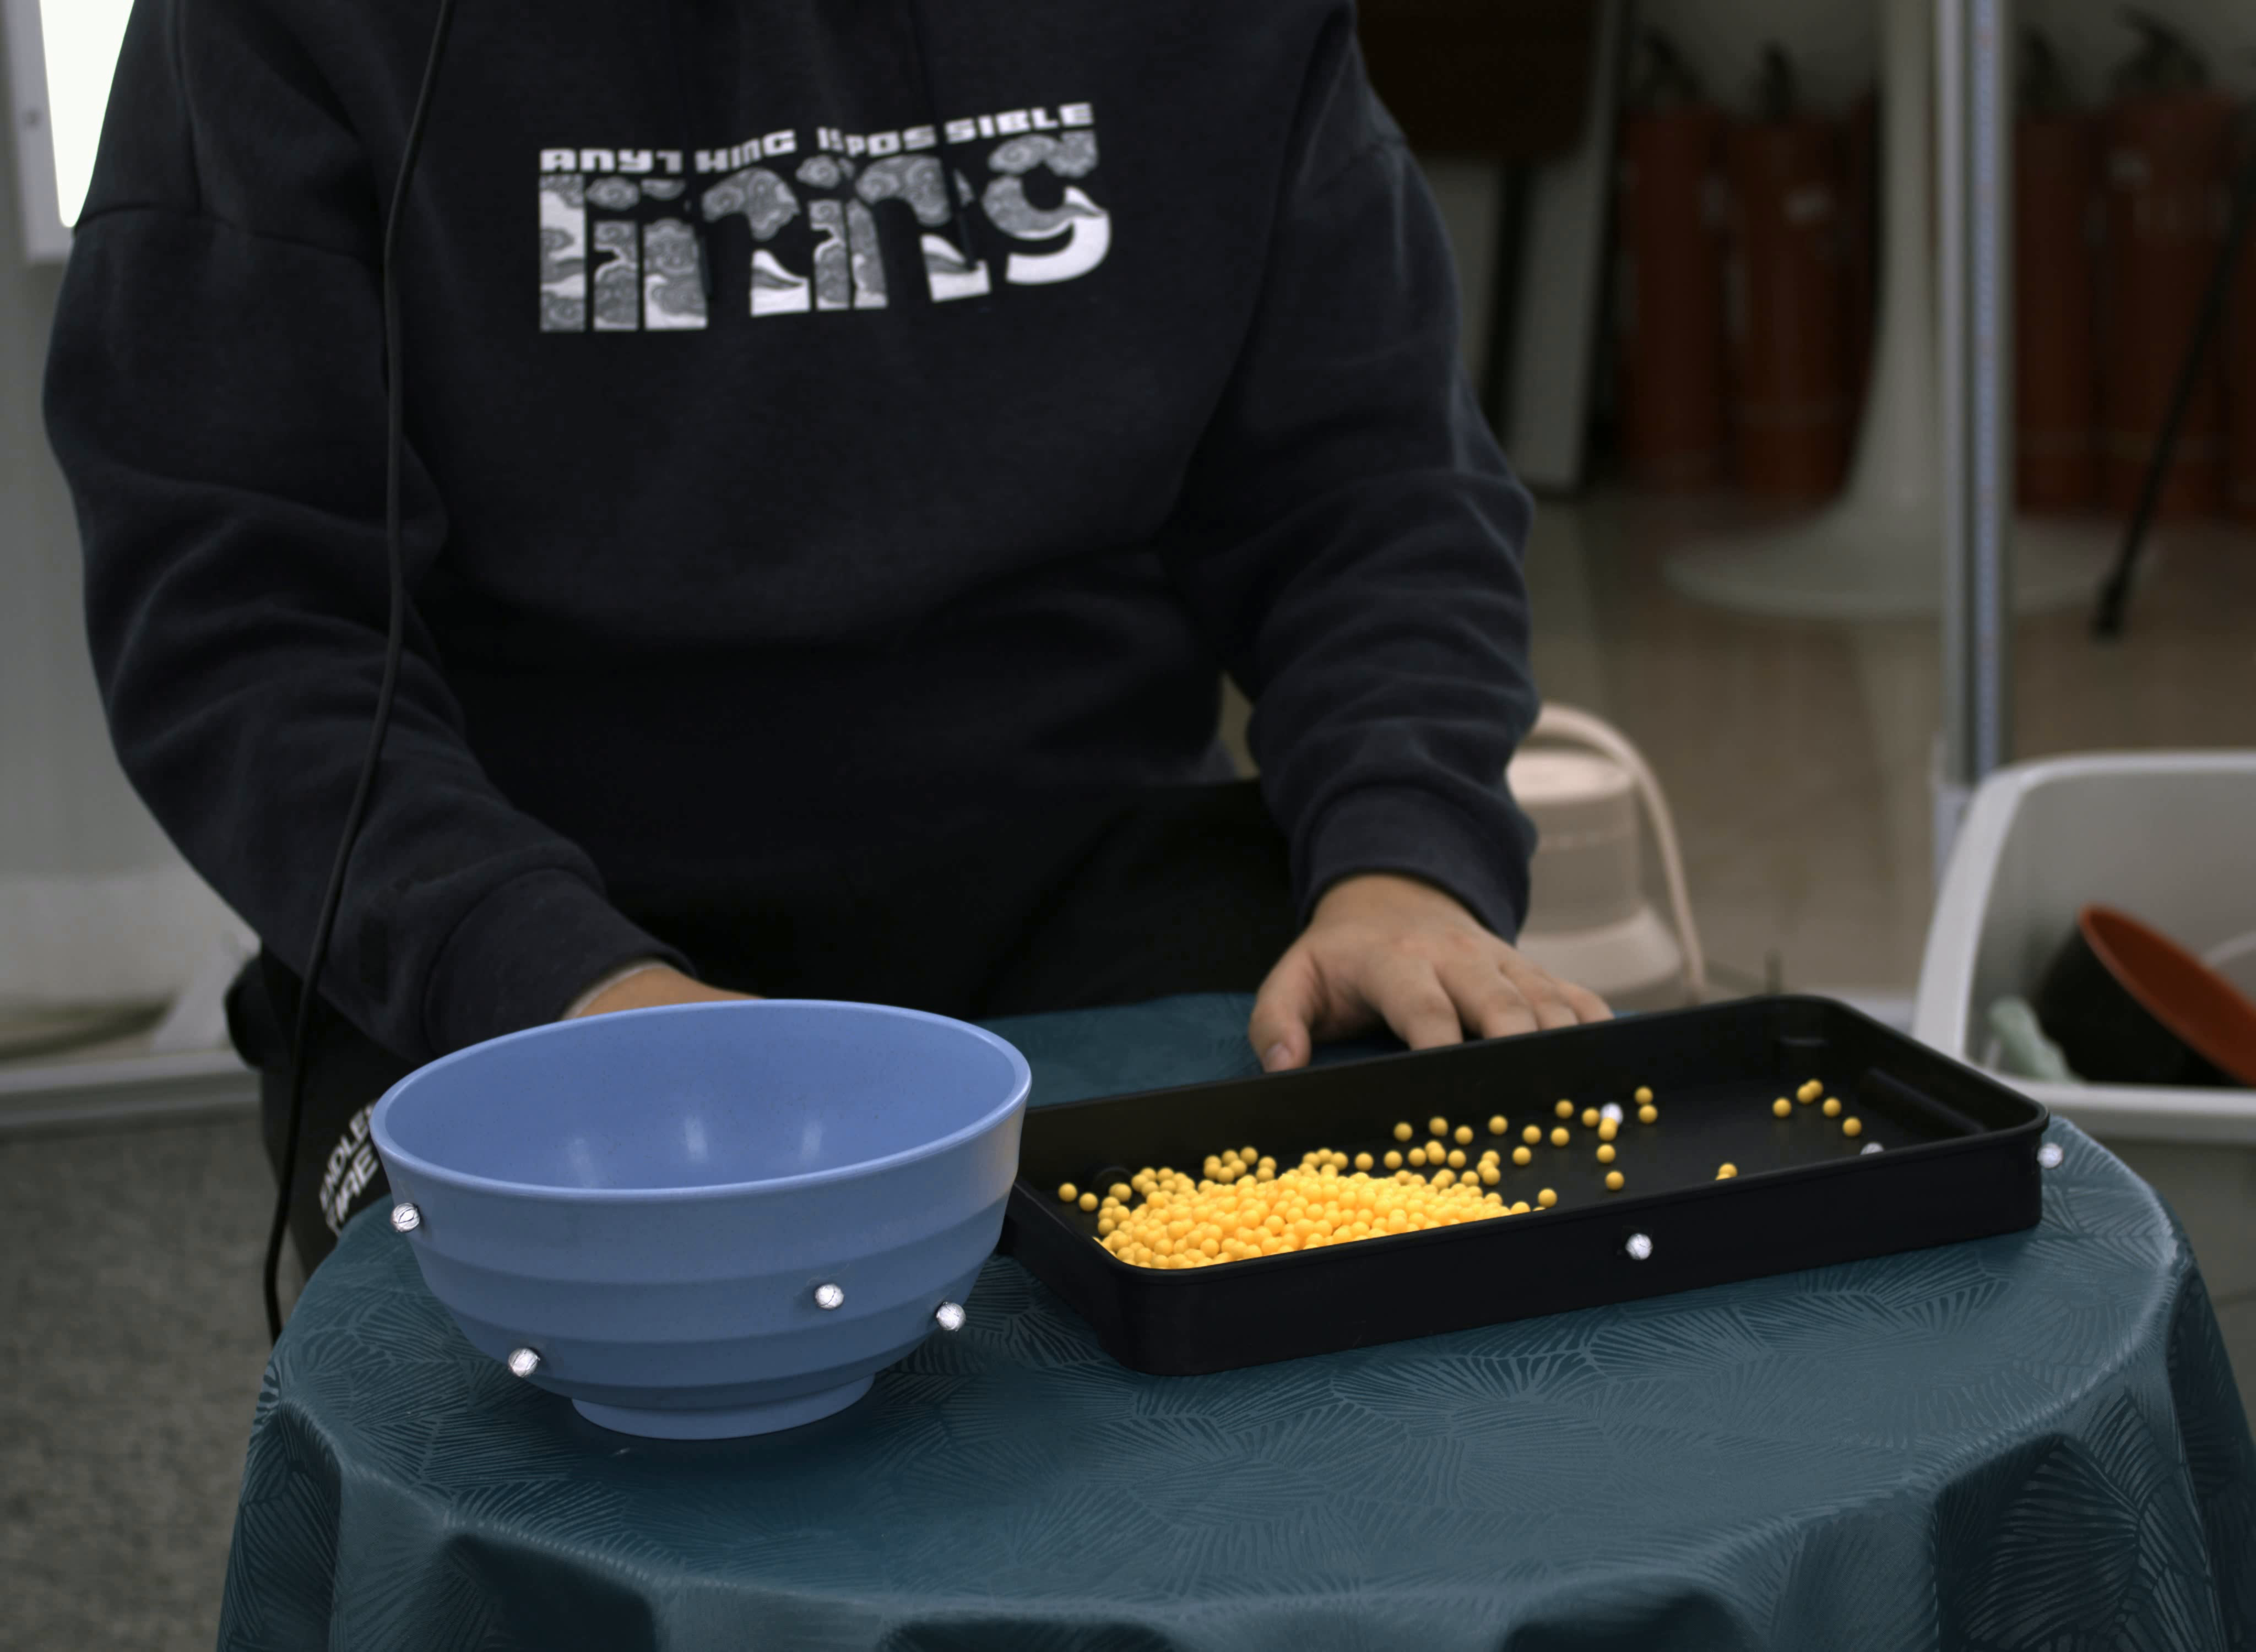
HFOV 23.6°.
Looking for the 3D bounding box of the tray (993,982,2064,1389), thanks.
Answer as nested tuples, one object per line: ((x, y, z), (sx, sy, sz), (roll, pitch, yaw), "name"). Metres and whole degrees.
((0.124, 0.110, 1.714), (0.311, 0.037, 0.186), (-10, 14, -19), "tray")

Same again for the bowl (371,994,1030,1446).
((-0.122, 0.122, 1.601), (0.194, 0.096, 0.197), (-5, 15, 0), "bowl")
